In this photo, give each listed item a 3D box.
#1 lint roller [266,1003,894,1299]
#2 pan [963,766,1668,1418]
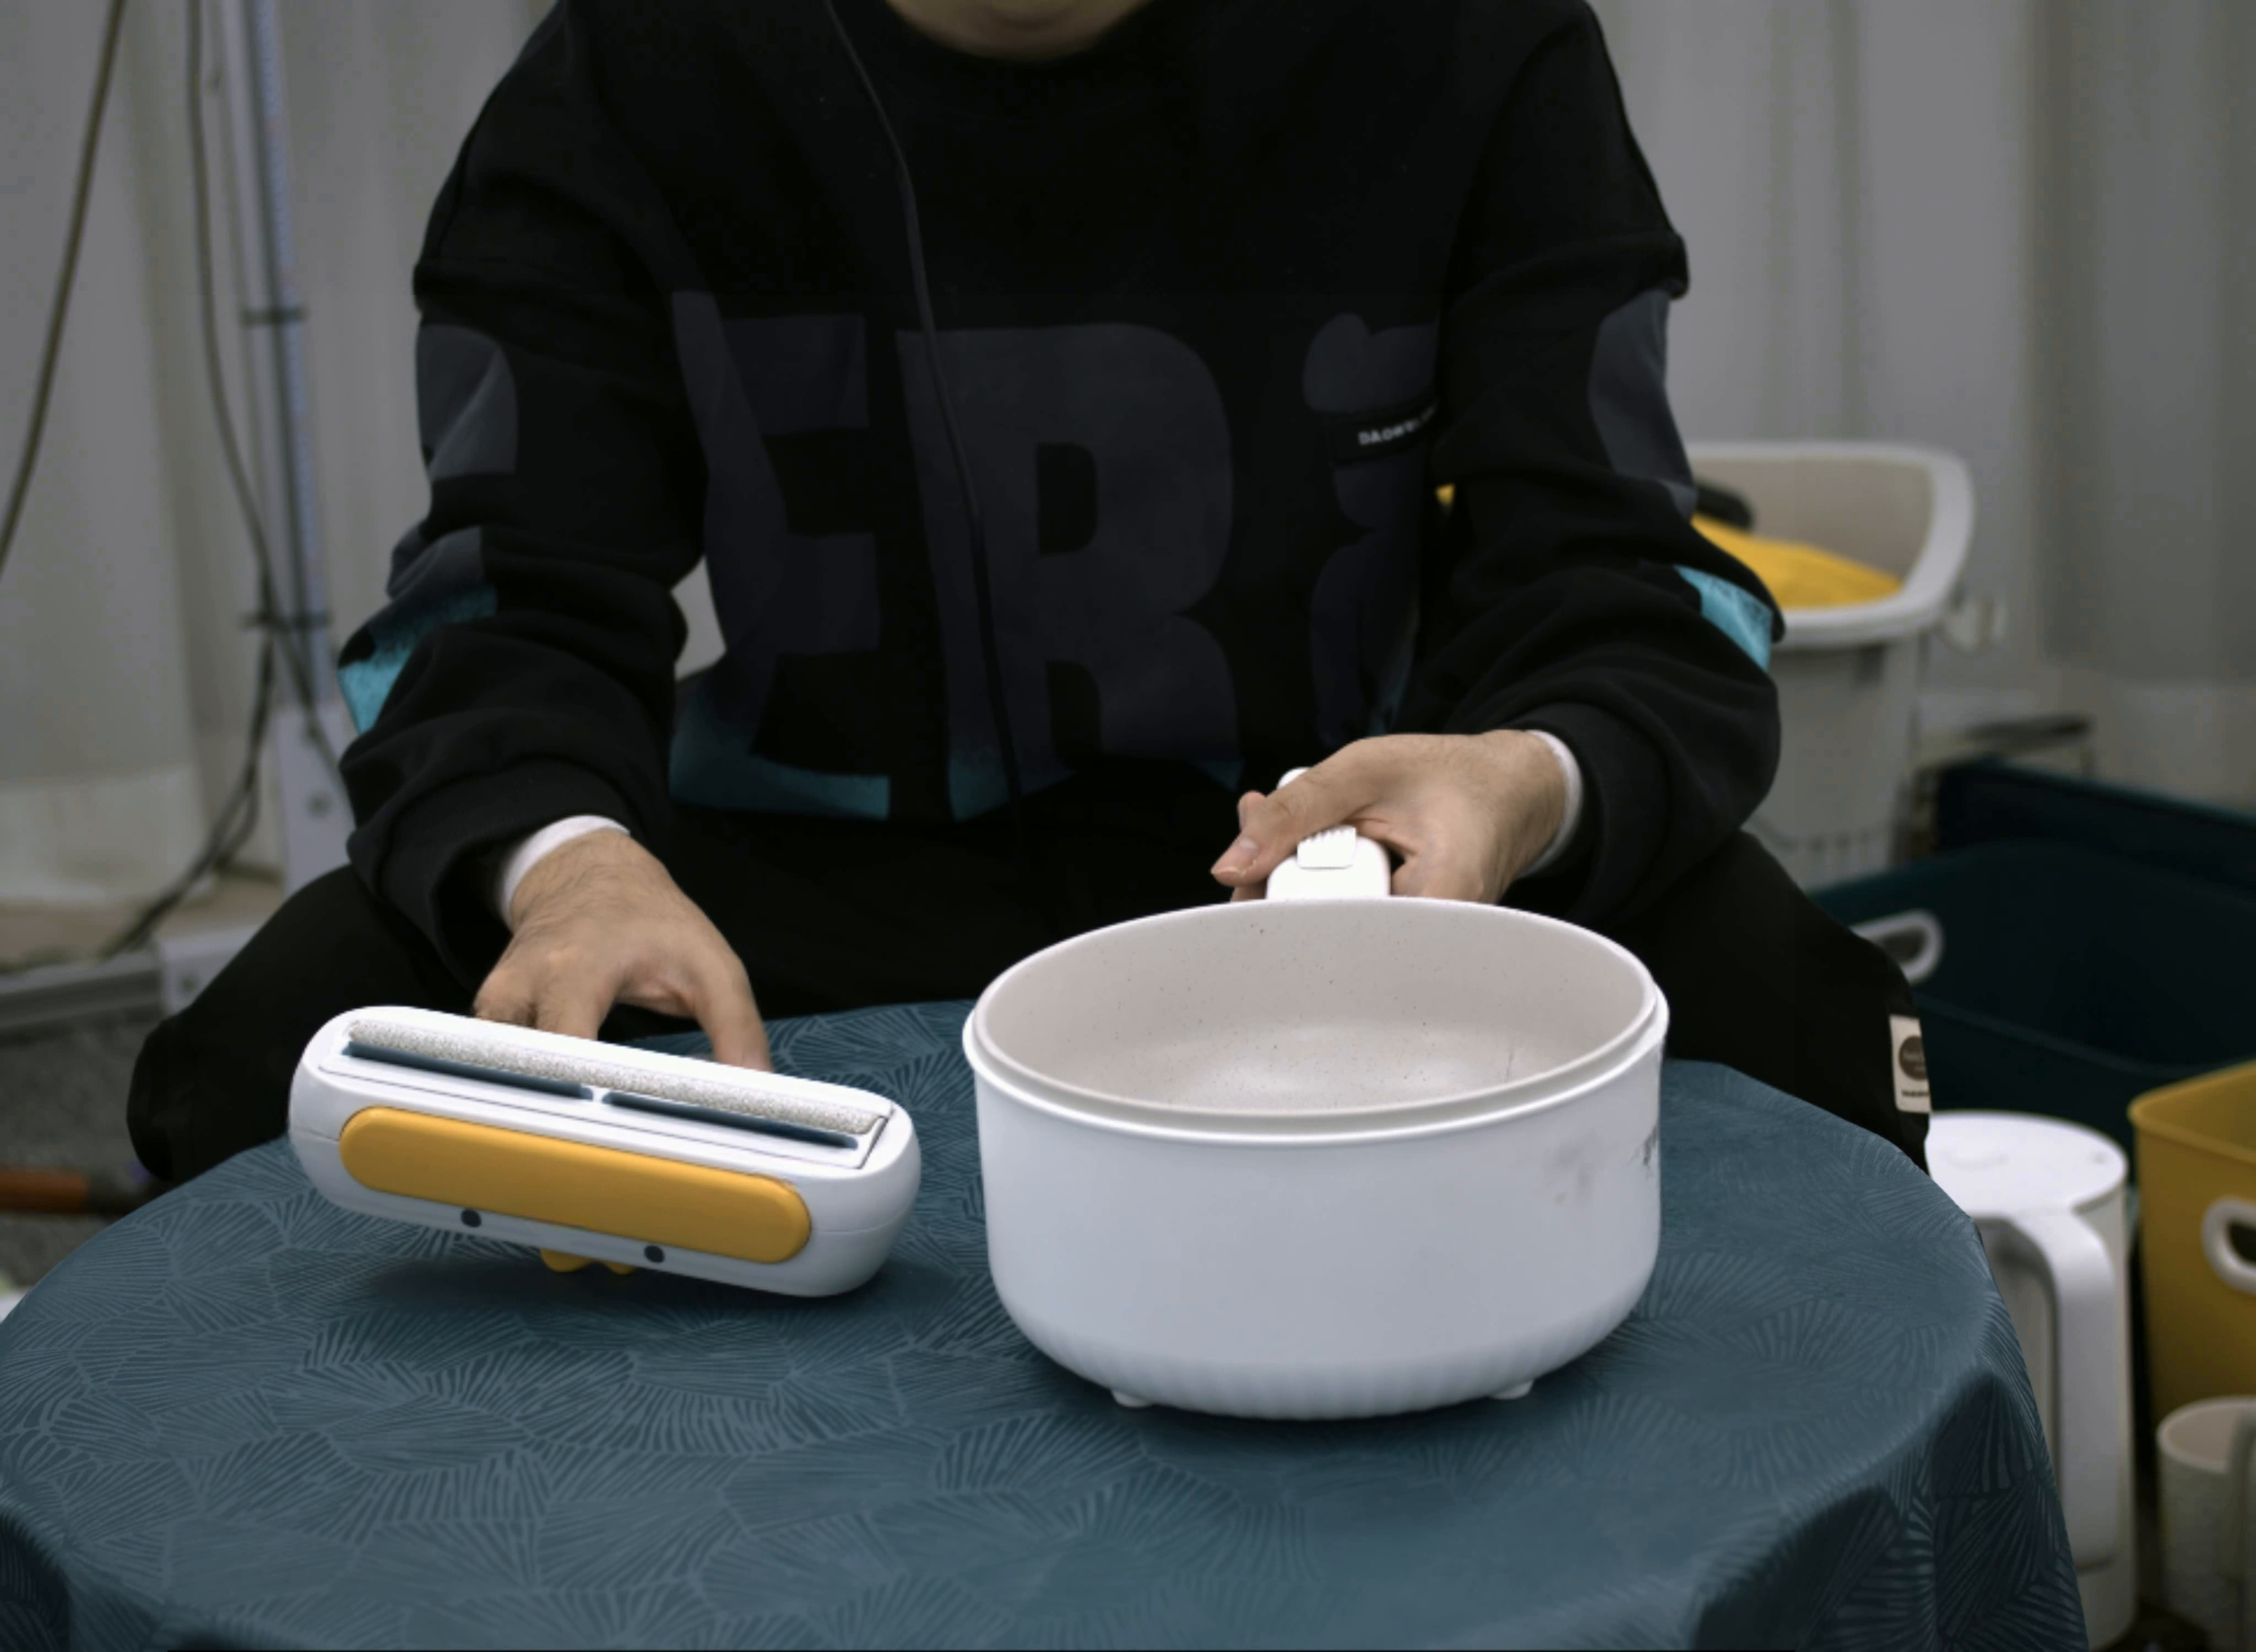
[{"bbox_3d":[-0.151,0.090,1.707,0.193,0.074,0.193,6,15,14],"label":"lint roller"},{"bbox_3d":[0.059,0.075,1.642,0.200,0.101,0.357,-2,16,4],"label":"pan"}]
